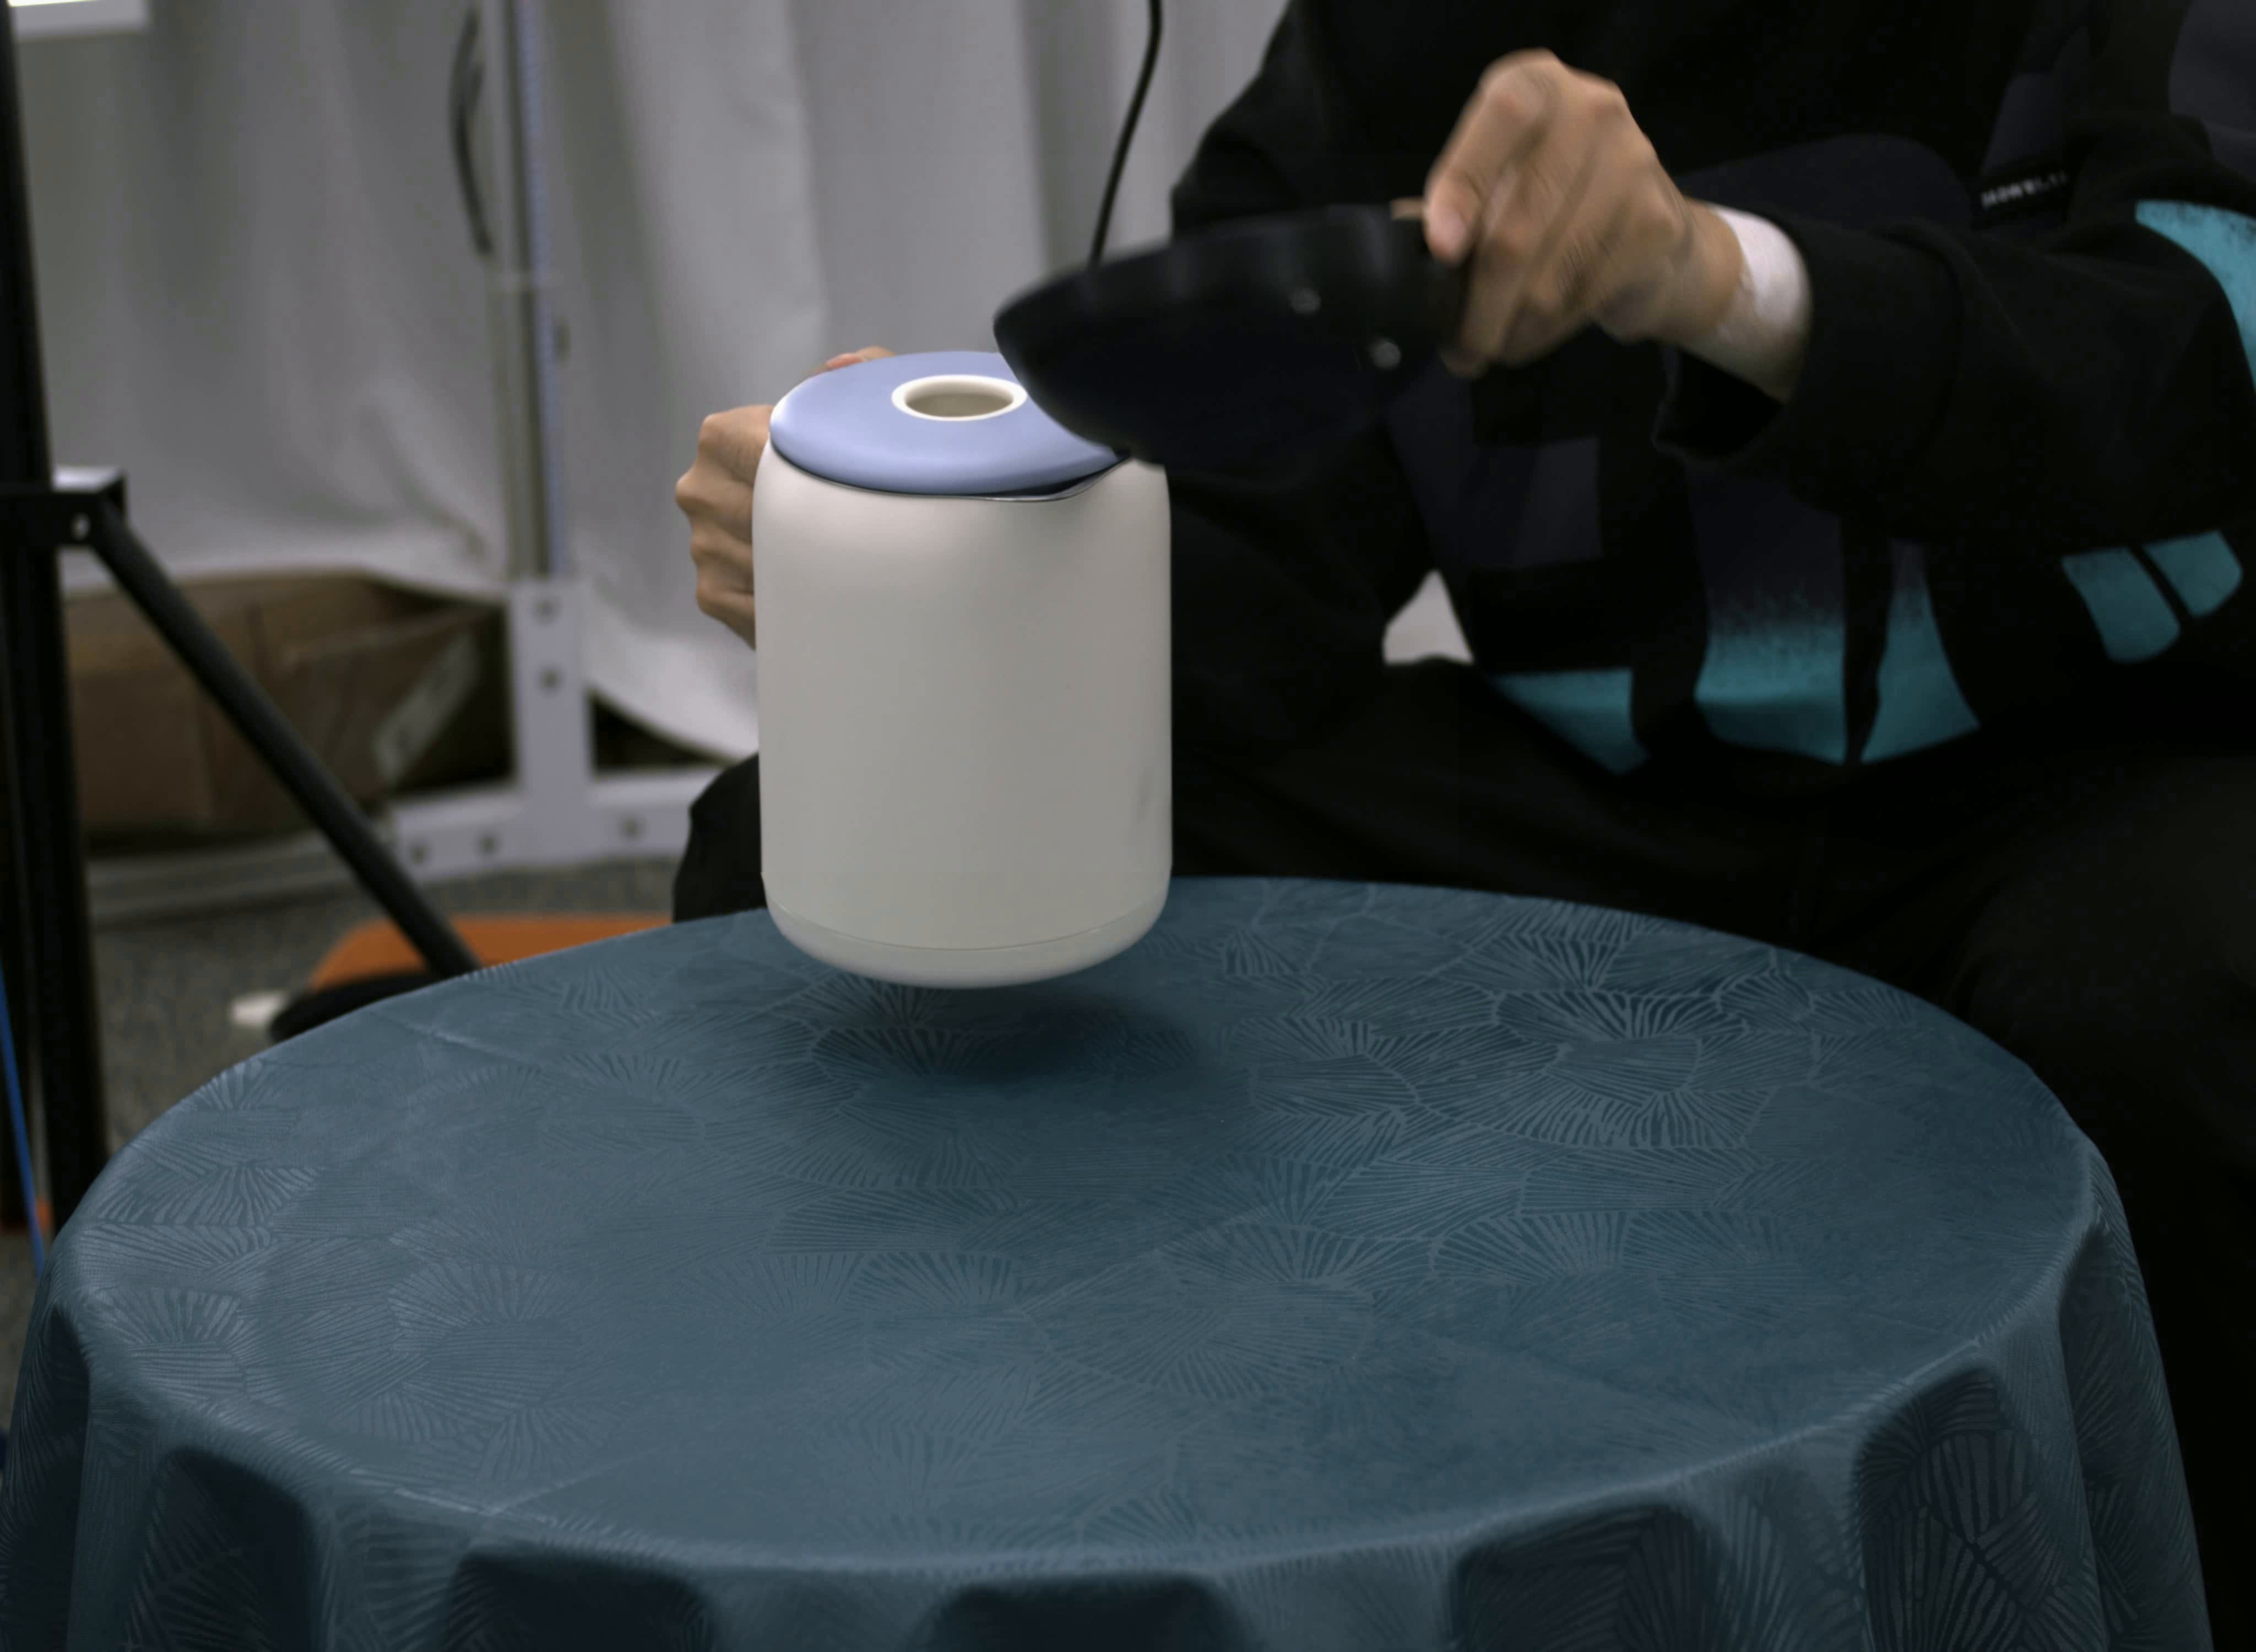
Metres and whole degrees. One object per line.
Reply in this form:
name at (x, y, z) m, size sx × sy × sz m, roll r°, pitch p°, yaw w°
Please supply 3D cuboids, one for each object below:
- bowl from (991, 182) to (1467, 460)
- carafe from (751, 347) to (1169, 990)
bowl at (0.033, -0.138, 1.522) m, size 0.139 × 0.050 × 0.140 m, roll -10°, pitch -9°, yaw -3°
carafe at (-0.064, -0.058, 1.699) m, size 0.129 × 0.182 × 0.195 m, roll -11°, pitch 23°, yaw -26°
